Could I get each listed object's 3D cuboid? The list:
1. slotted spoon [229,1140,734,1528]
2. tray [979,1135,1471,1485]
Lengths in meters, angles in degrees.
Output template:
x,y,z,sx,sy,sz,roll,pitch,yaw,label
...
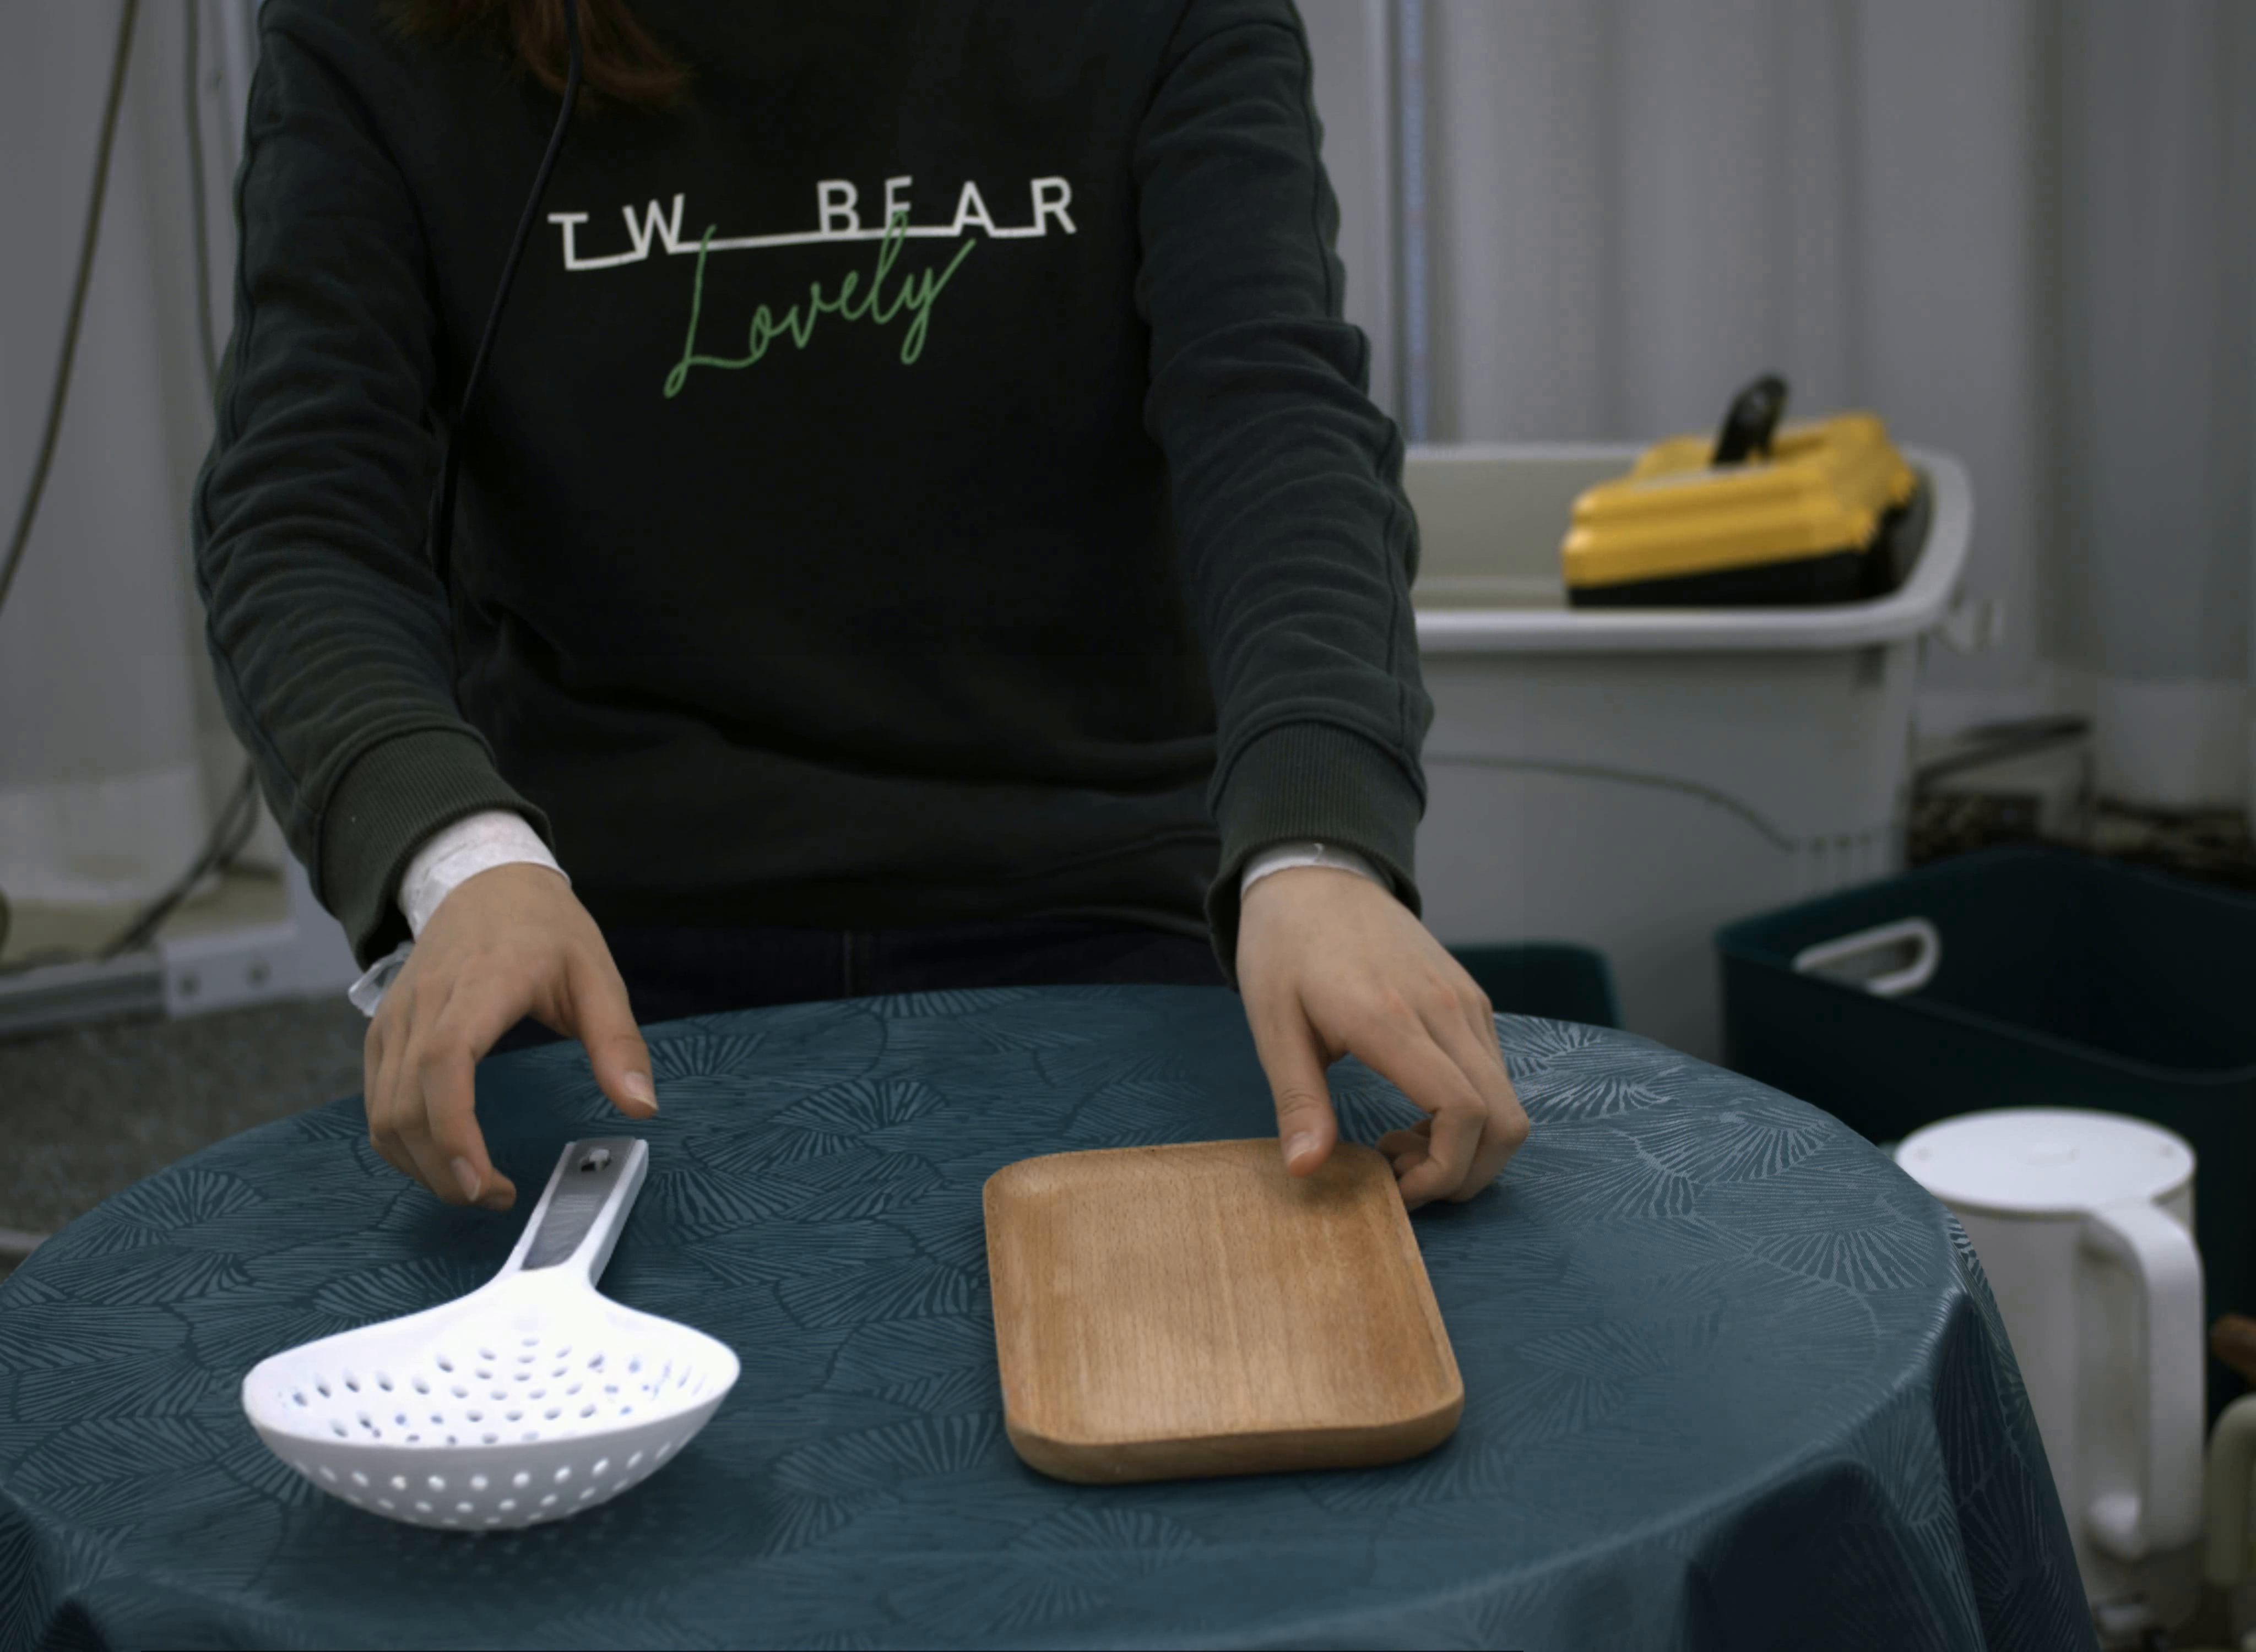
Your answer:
x,y,z,sx,sy,sz,roll,pitch,yaw,label
-0.170,0.137,1.576,0.135,0.045,0.352,0,14,2,slotted spoon
0.024,0.138,1.591,0.130,0.023,0.252,-2,14,-3,tray
